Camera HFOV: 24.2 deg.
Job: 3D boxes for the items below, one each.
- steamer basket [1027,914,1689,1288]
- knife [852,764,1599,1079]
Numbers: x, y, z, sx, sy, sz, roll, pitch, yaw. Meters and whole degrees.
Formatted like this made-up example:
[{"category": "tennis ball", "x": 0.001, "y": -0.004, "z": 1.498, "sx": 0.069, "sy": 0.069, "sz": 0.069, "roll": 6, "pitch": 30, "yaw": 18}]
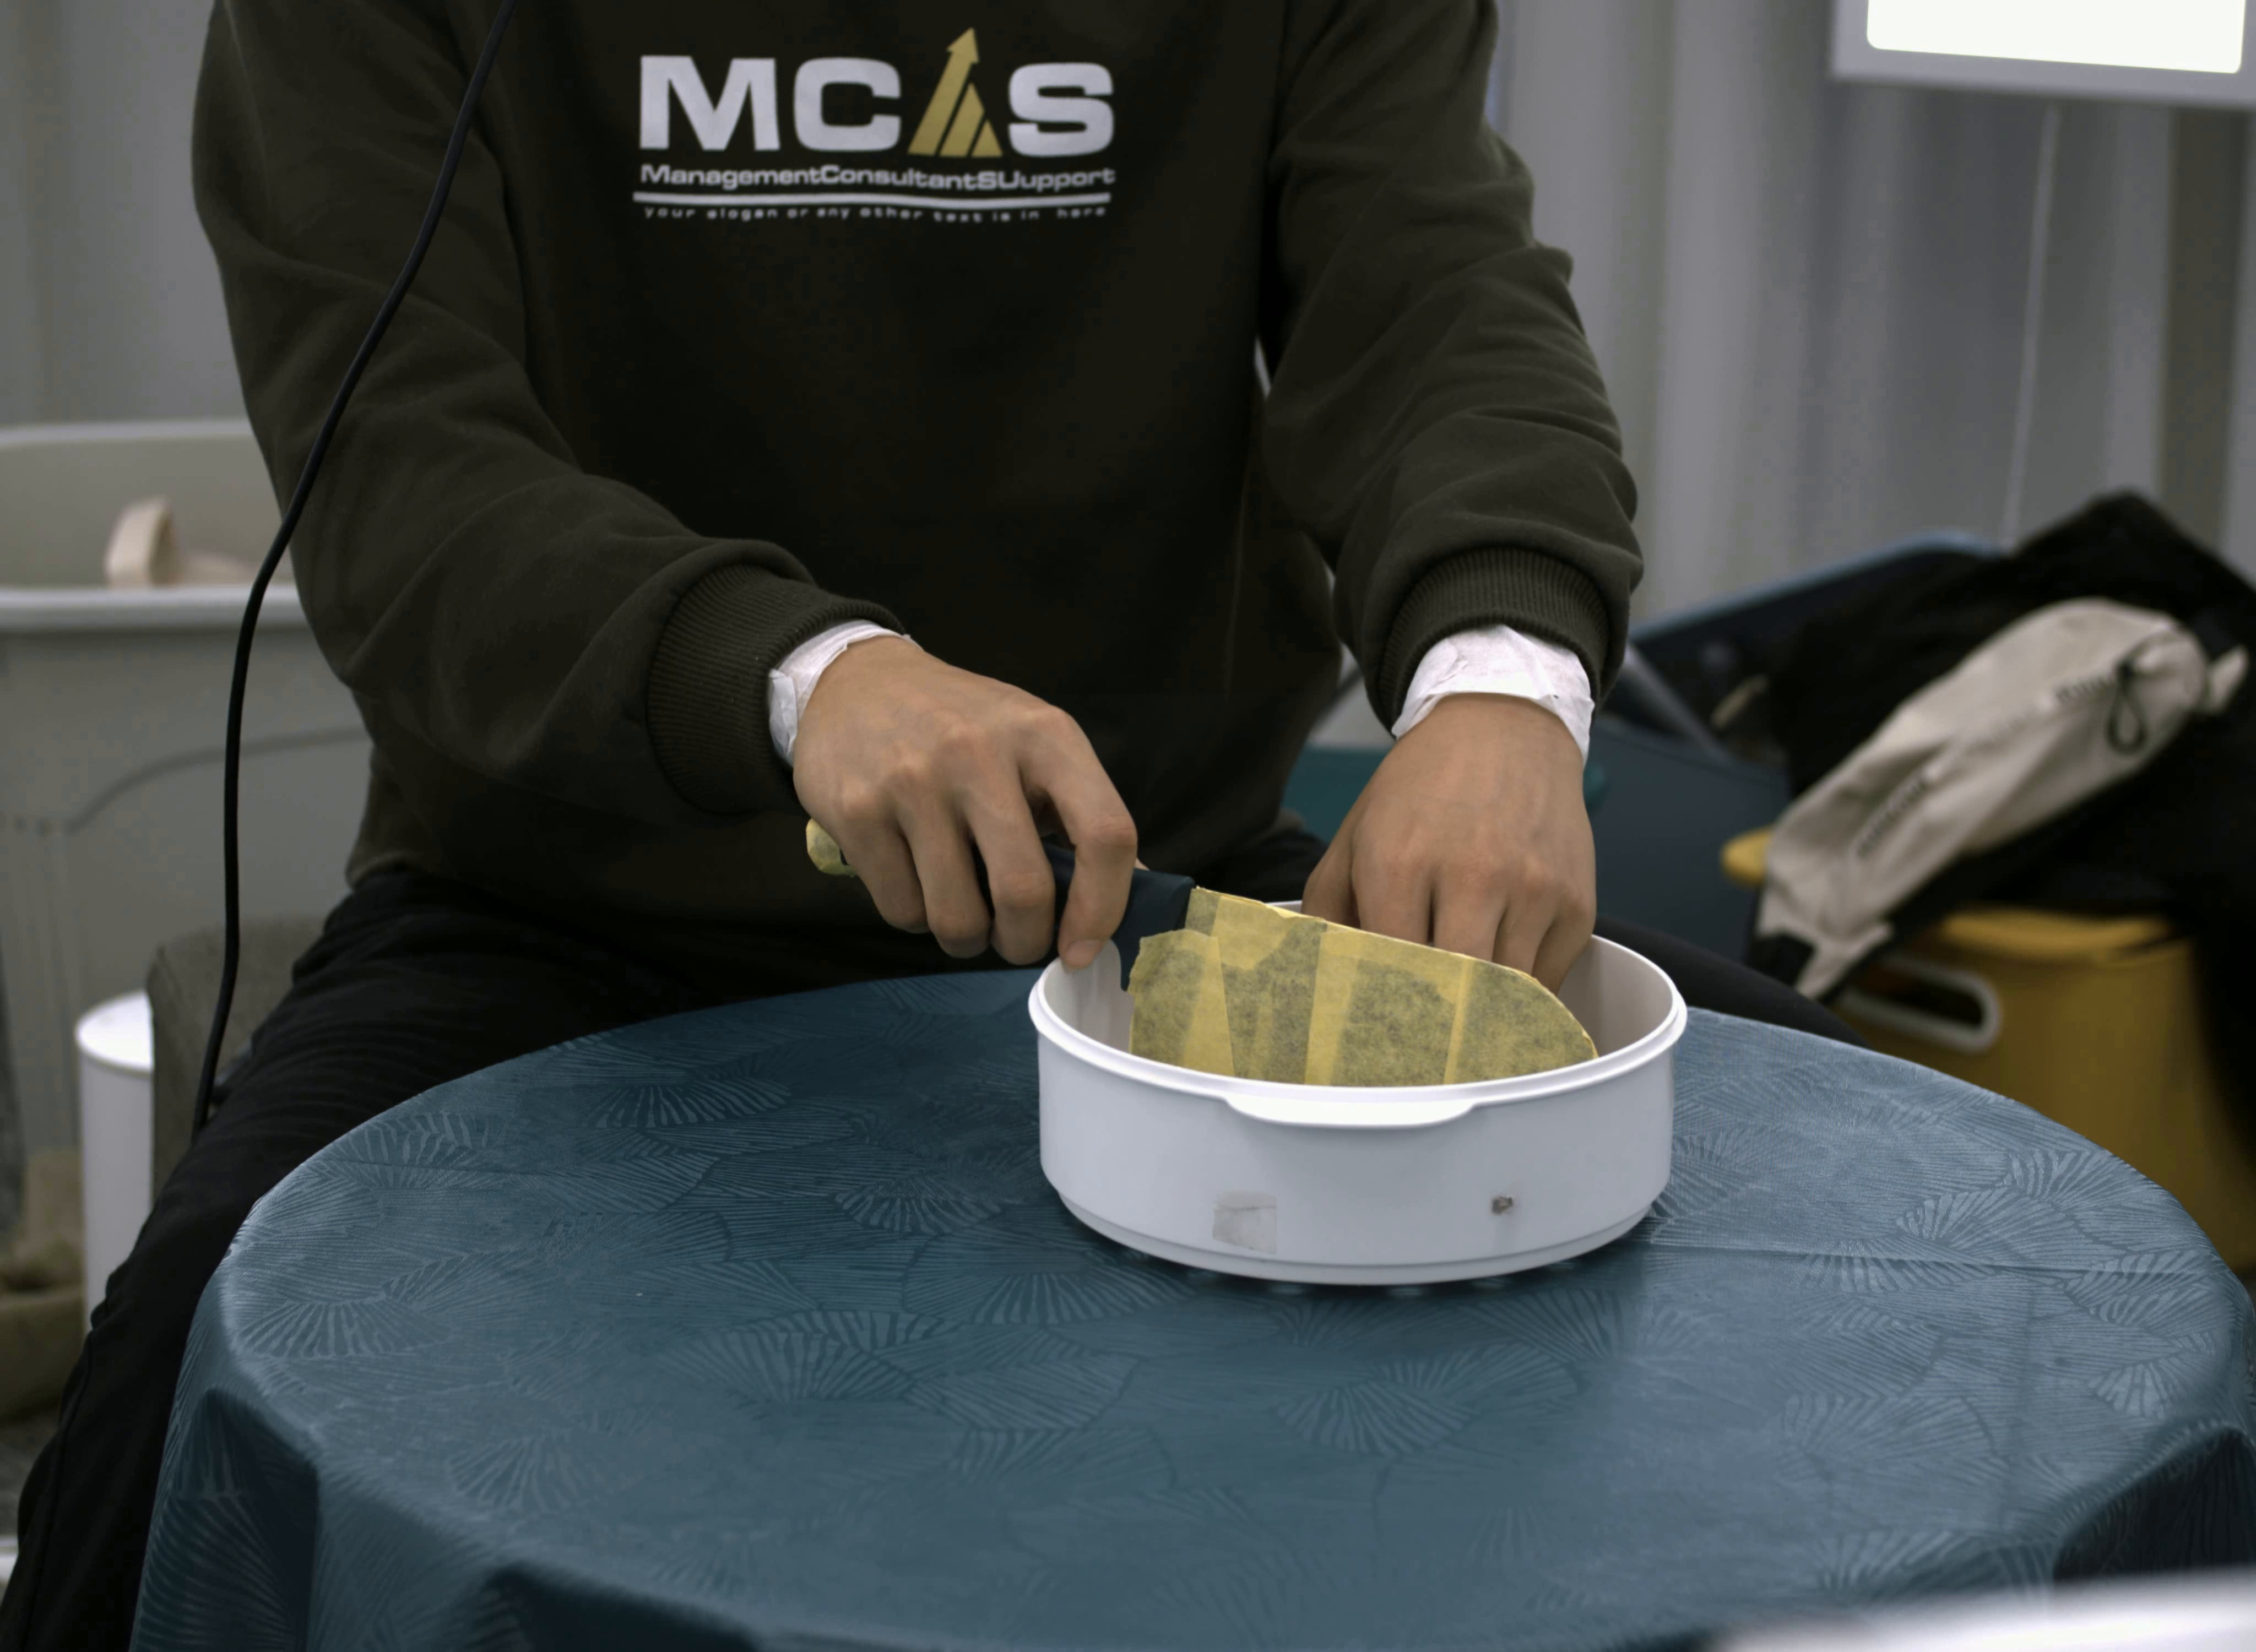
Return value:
[{"category": "steamer basket", "x": 0.069, "y": 0.083, "z": 1.607, "sx": 0.201, "sy": 0.070, "sz": 0.230, "roll": 2, "pitch": 14, "yaw": 4}, {"category": "knife", "x": 0.029, "y": 0.043, "z": 1.630, "sx": 0.286, "sy": 0.081, "sz": 0.027, "roll": 22, "pitch": 17, "yaw": 28}]
